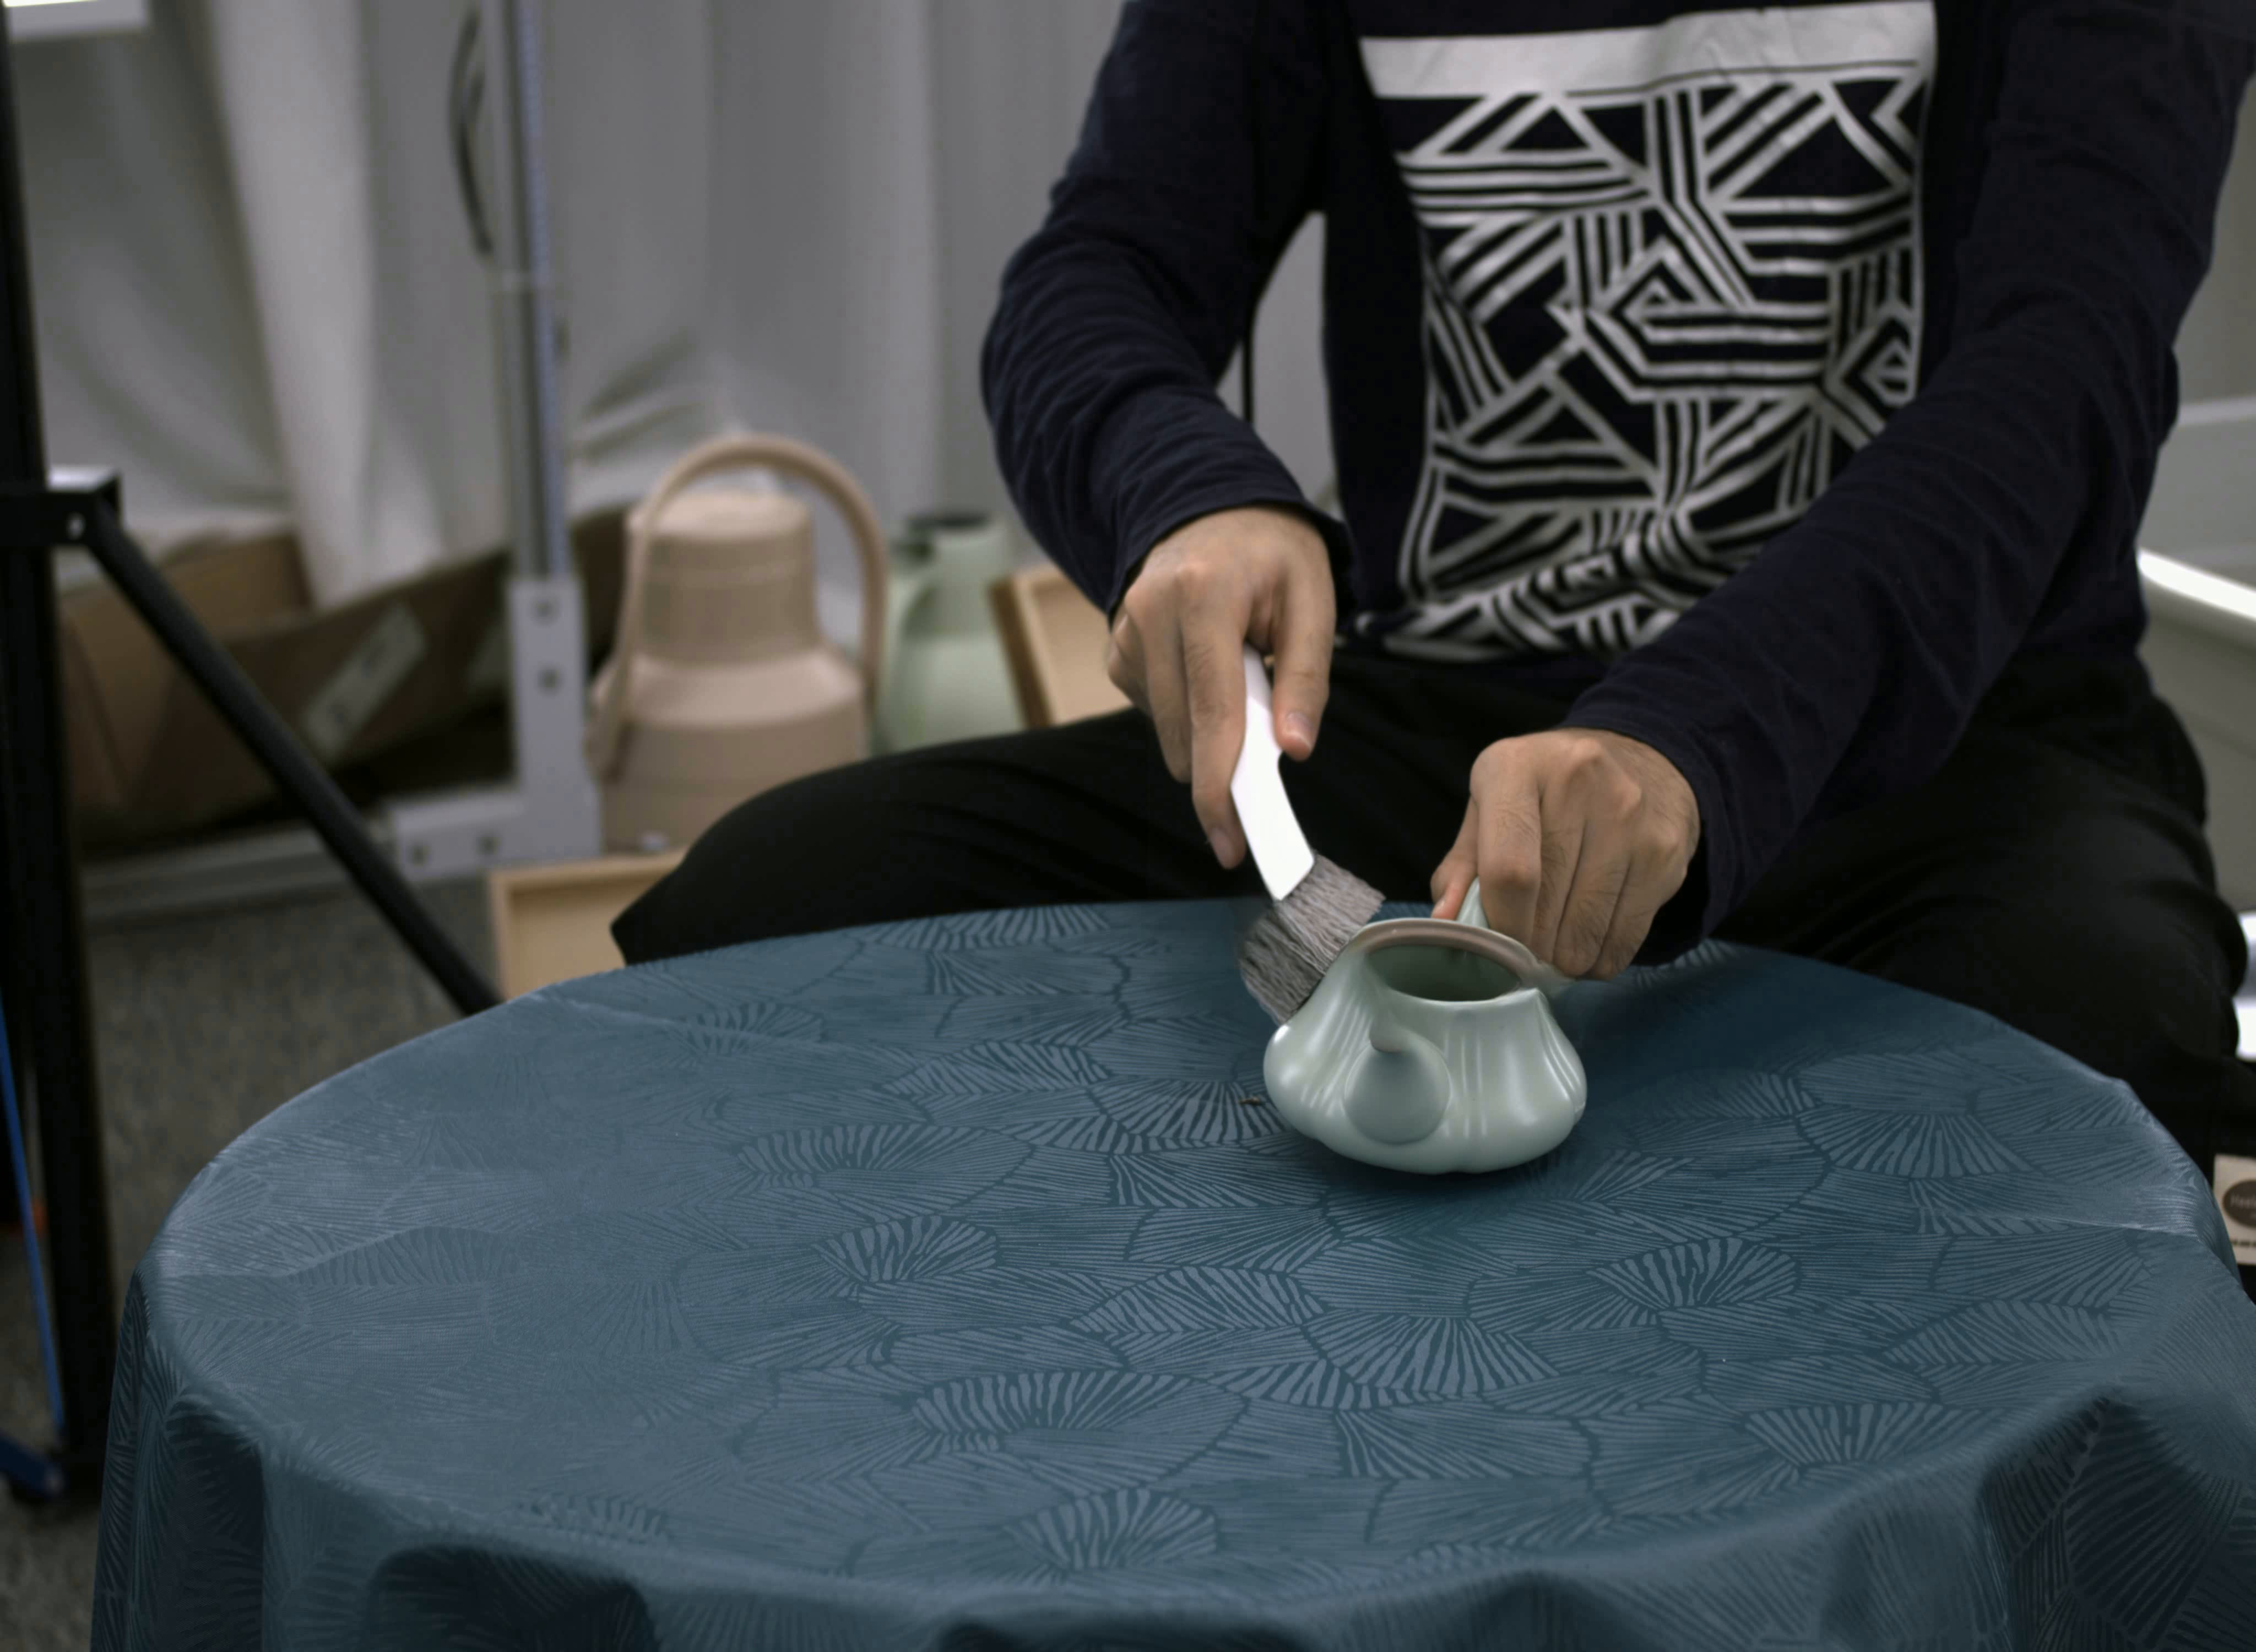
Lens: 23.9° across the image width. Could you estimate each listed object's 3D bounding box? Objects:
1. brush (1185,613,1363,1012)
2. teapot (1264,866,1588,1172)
[{"bbox_3d":[0.045,-0.007,1.685,0.049,0.034,0.245,28,20,-12],"label":"brush"},{"bbox_3d":[0.091,0.062,1.582,0.097,0.061,0.136,8,25,14],"label":"teapot"}]
